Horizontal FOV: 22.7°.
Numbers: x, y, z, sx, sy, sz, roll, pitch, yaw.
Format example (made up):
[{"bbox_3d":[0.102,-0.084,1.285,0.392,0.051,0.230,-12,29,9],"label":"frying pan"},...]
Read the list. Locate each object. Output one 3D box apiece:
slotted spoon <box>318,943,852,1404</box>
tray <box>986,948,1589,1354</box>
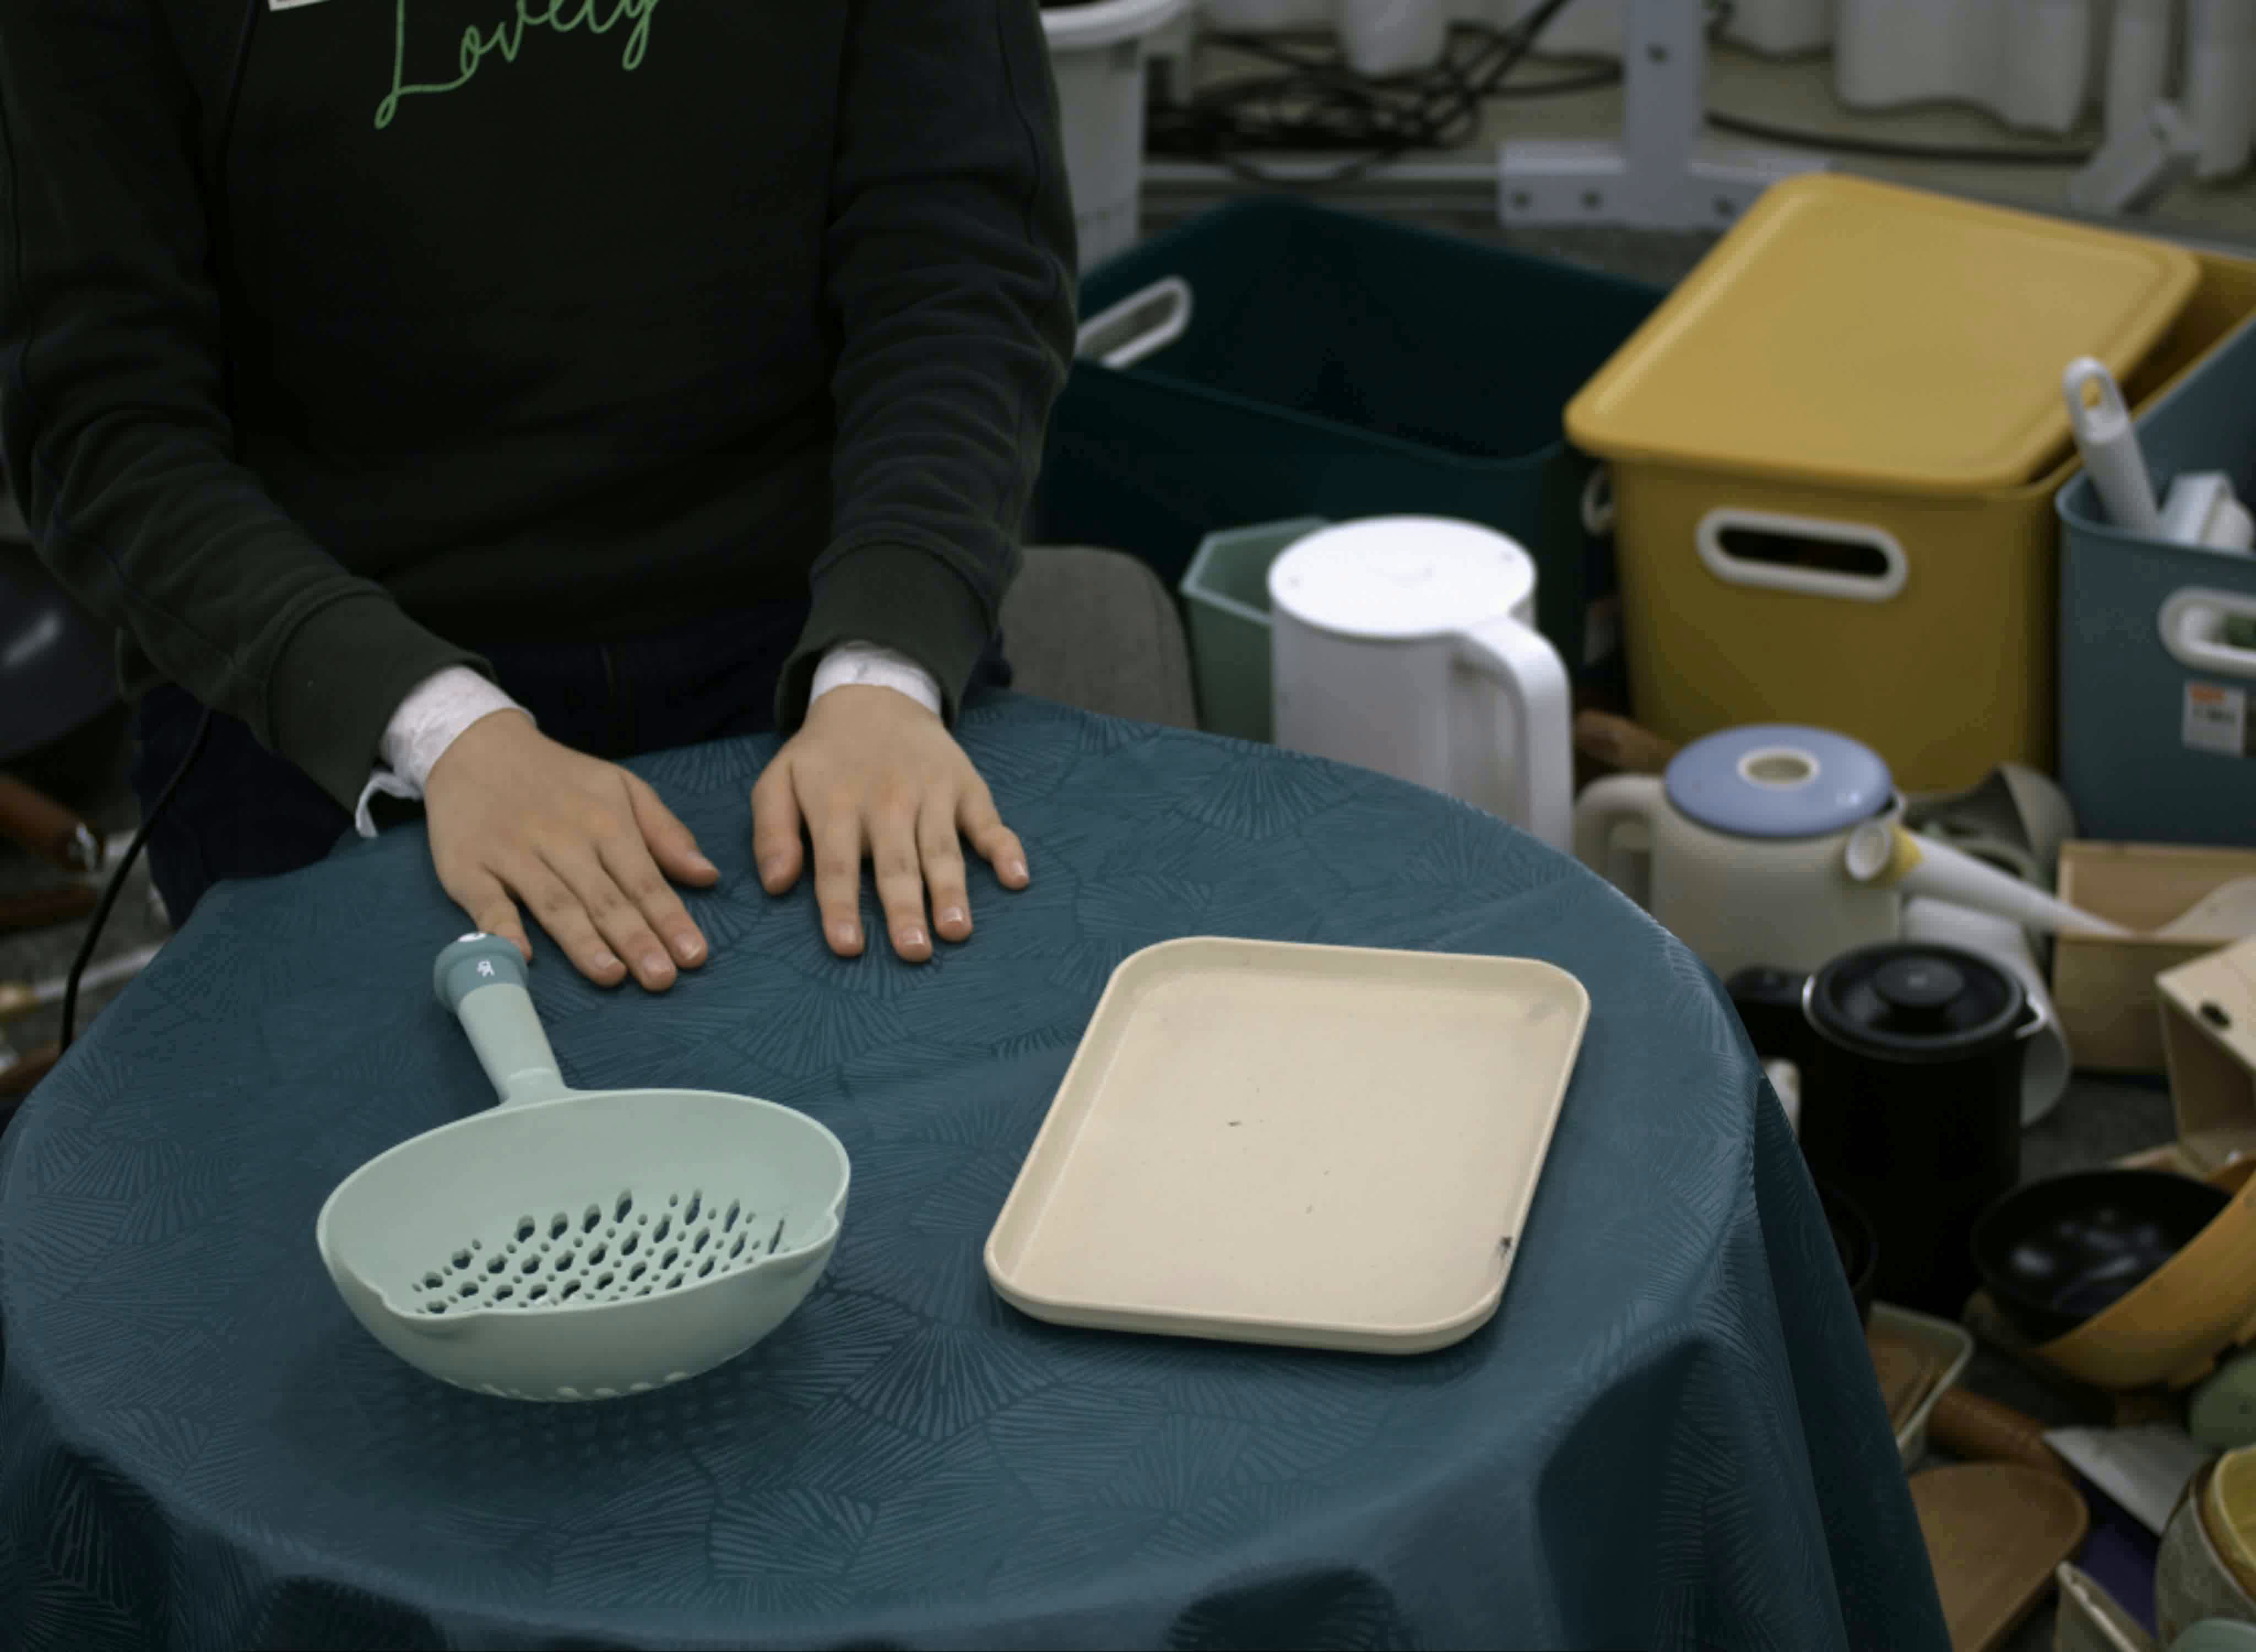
[{"bbox_3d":[-0.193,0.099,1.857,0.169,0.074,0.362,-8,27,-12],"label":"slotted spoon"},{"bbox_3d":[0.056,0.107,1.867,0.170,0.017,0.244,4,27,12],"label":"tray"}]
